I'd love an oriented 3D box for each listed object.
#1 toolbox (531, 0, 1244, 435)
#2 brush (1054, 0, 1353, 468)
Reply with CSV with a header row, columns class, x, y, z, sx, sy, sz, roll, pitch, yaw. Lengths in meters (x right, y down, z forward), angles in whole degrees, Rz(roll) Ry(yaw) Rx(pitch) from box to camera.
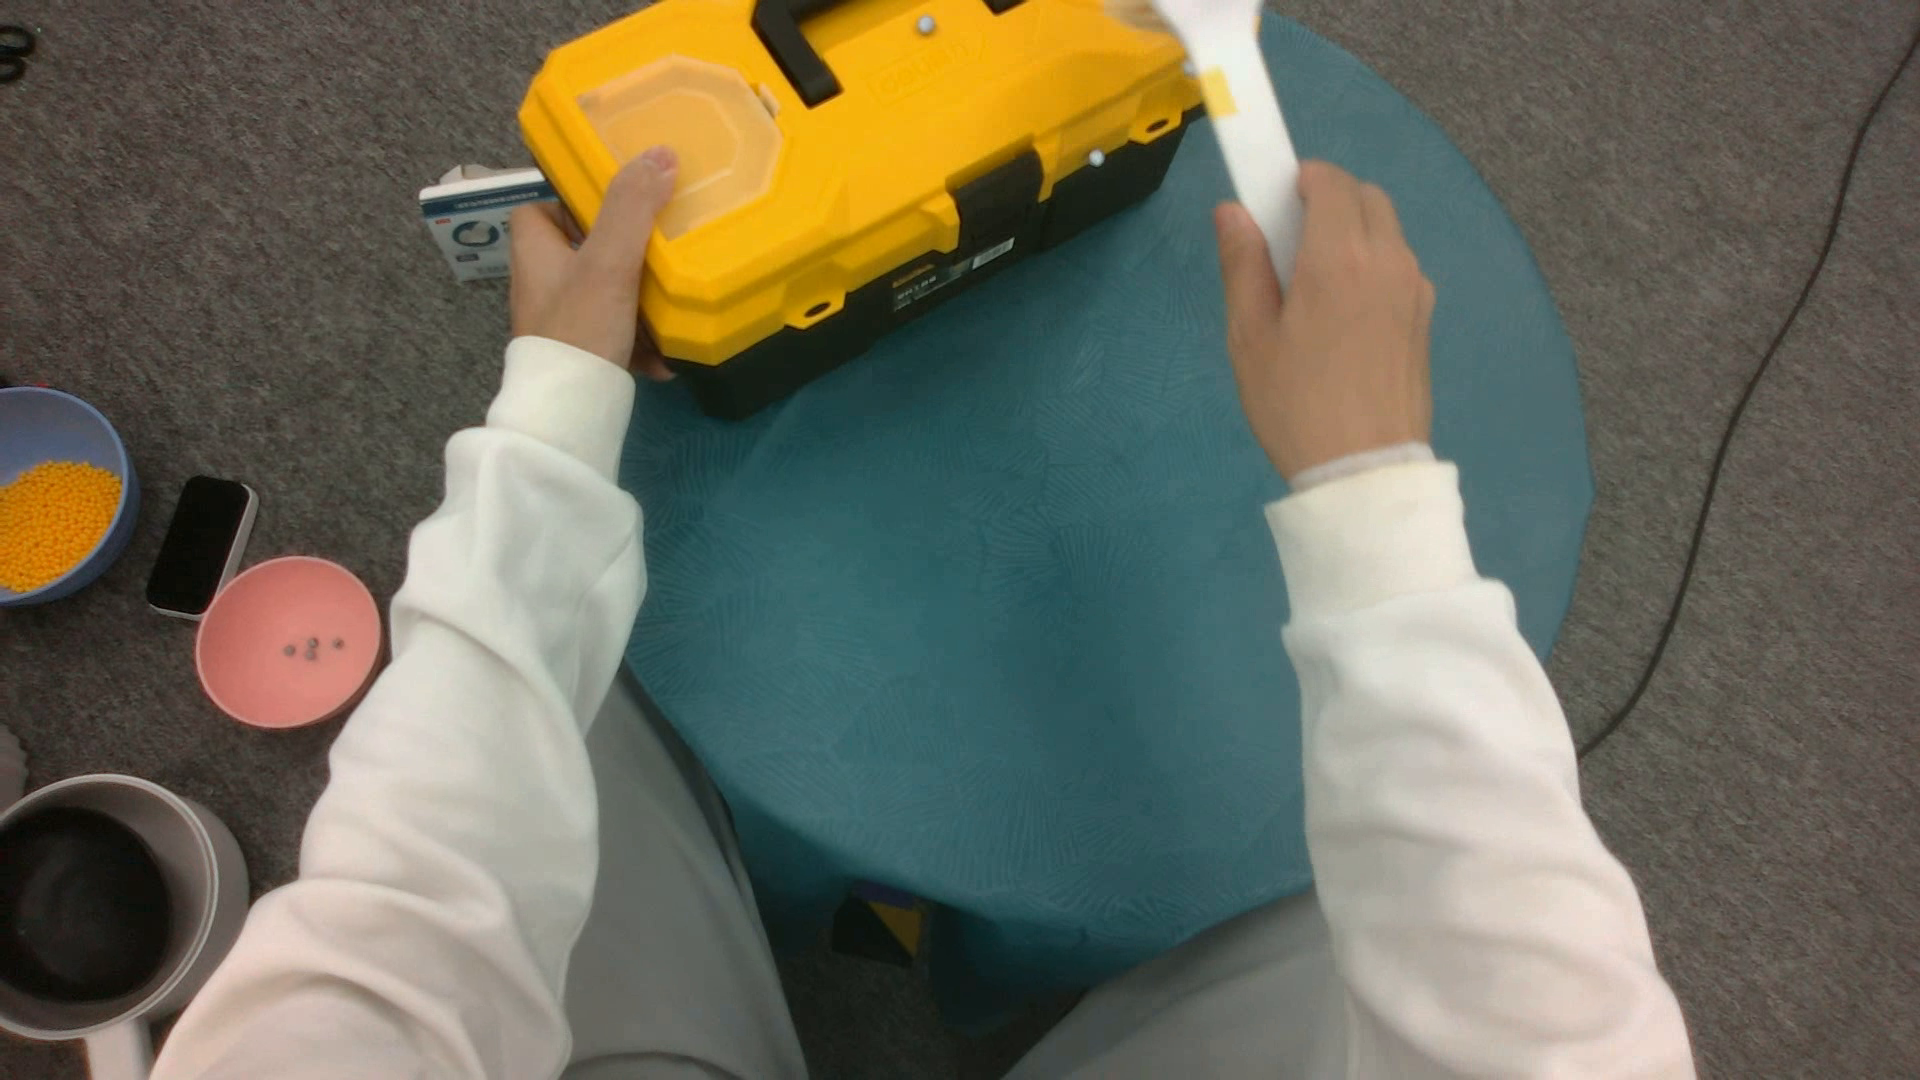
class,x,y,z,sx,sy,sz,roll,pitch,yaw
toolbox,-0.032,-0.211,0.751,0.352,0.172,0.181,-32,76,-13
brush,0.112,-0.157,0.612,0.068,0.056,0.266,-23,103,0
